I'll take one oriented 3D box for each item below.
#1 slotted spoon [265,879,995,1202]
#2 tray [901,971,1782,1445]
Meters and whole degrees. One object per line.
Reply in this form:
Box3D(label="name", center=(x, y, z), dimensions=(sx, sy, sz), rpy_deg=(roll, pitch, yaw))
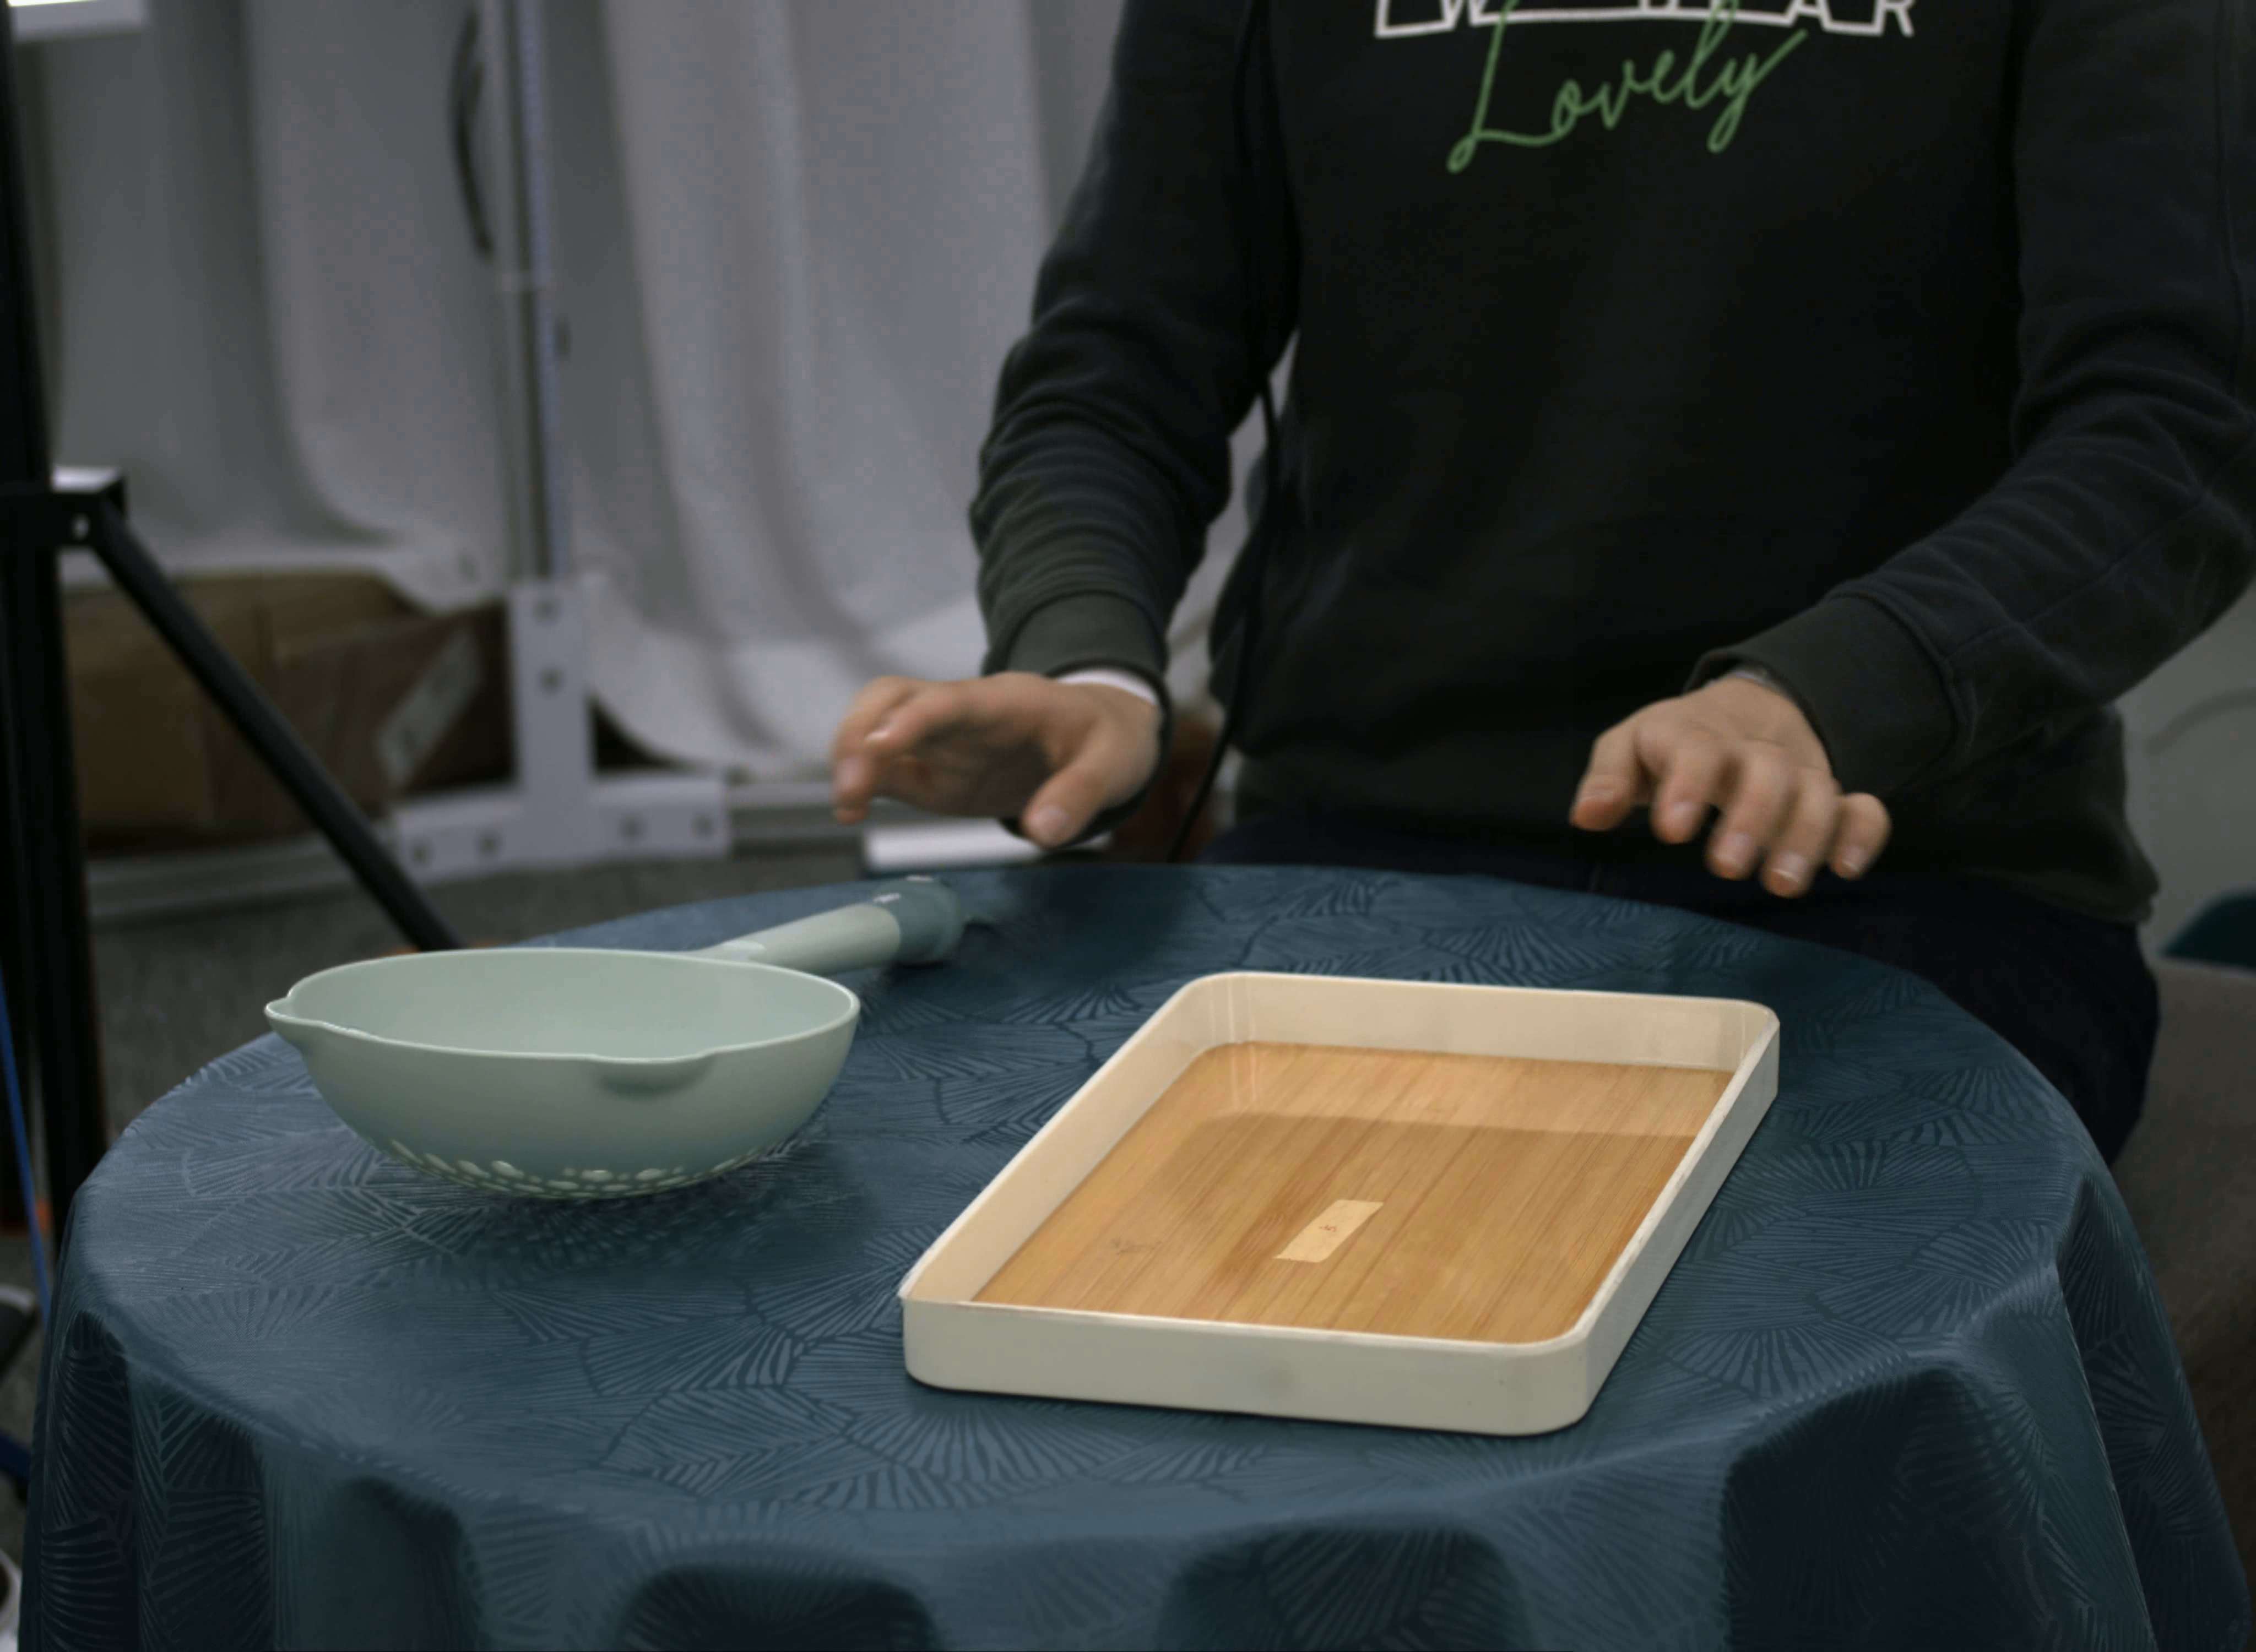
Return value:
Box3D(label="slotted spoon", center=(-0.124, 0.051, 1.662), dimensions=(0.172, 0.075, 0.353), rpy_deg=(6, 18, 24))
Box3D(label="tray", center=(0.069, 0.103, 1.515), dimensions=(0.193, 0.027, 0.297), rpy_deg=(3, 17, 18))
